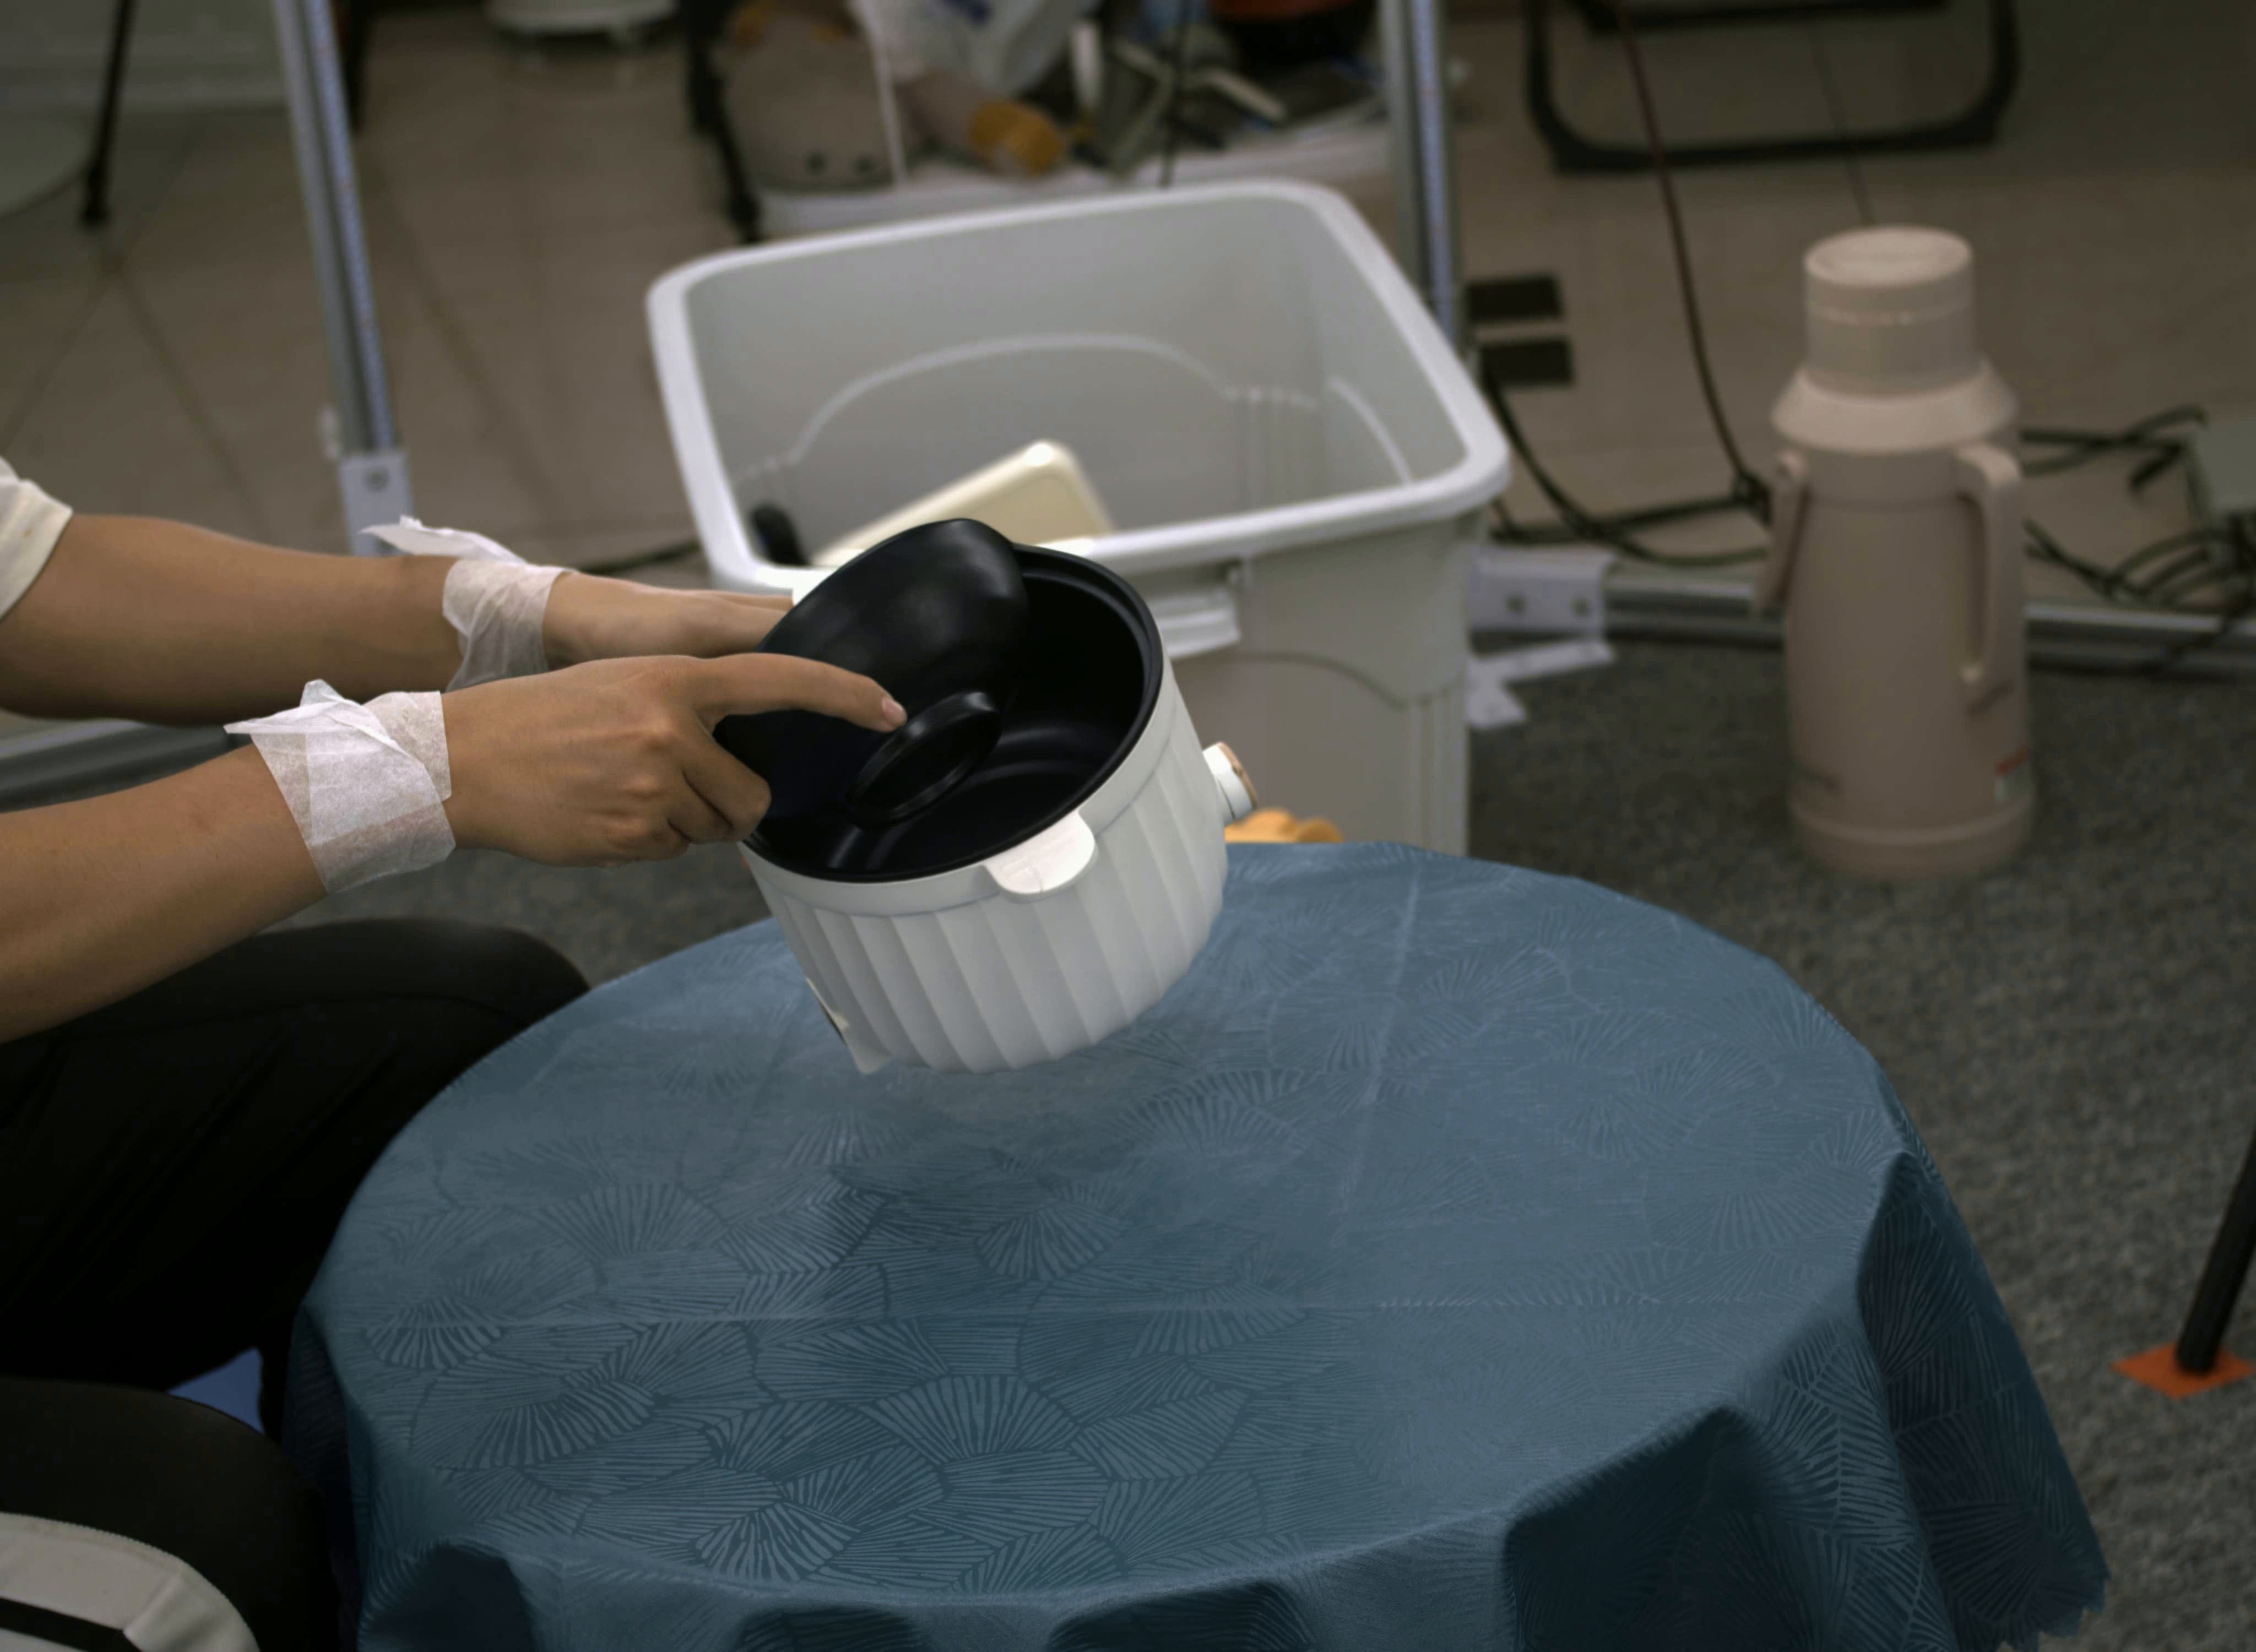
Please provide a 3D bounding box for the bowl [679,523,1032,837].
[{"bbox_3d":[-0.090,-0.043,2.102,0.066,0.139,0.169,50,31,17],"label":"bowl"}]

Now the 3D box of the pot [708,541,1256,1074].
[{"bbox_3d":[-0.051,-0.003,2.197,0.190,0.145,0.236,-33,43,-5],"label":"pot"}]
